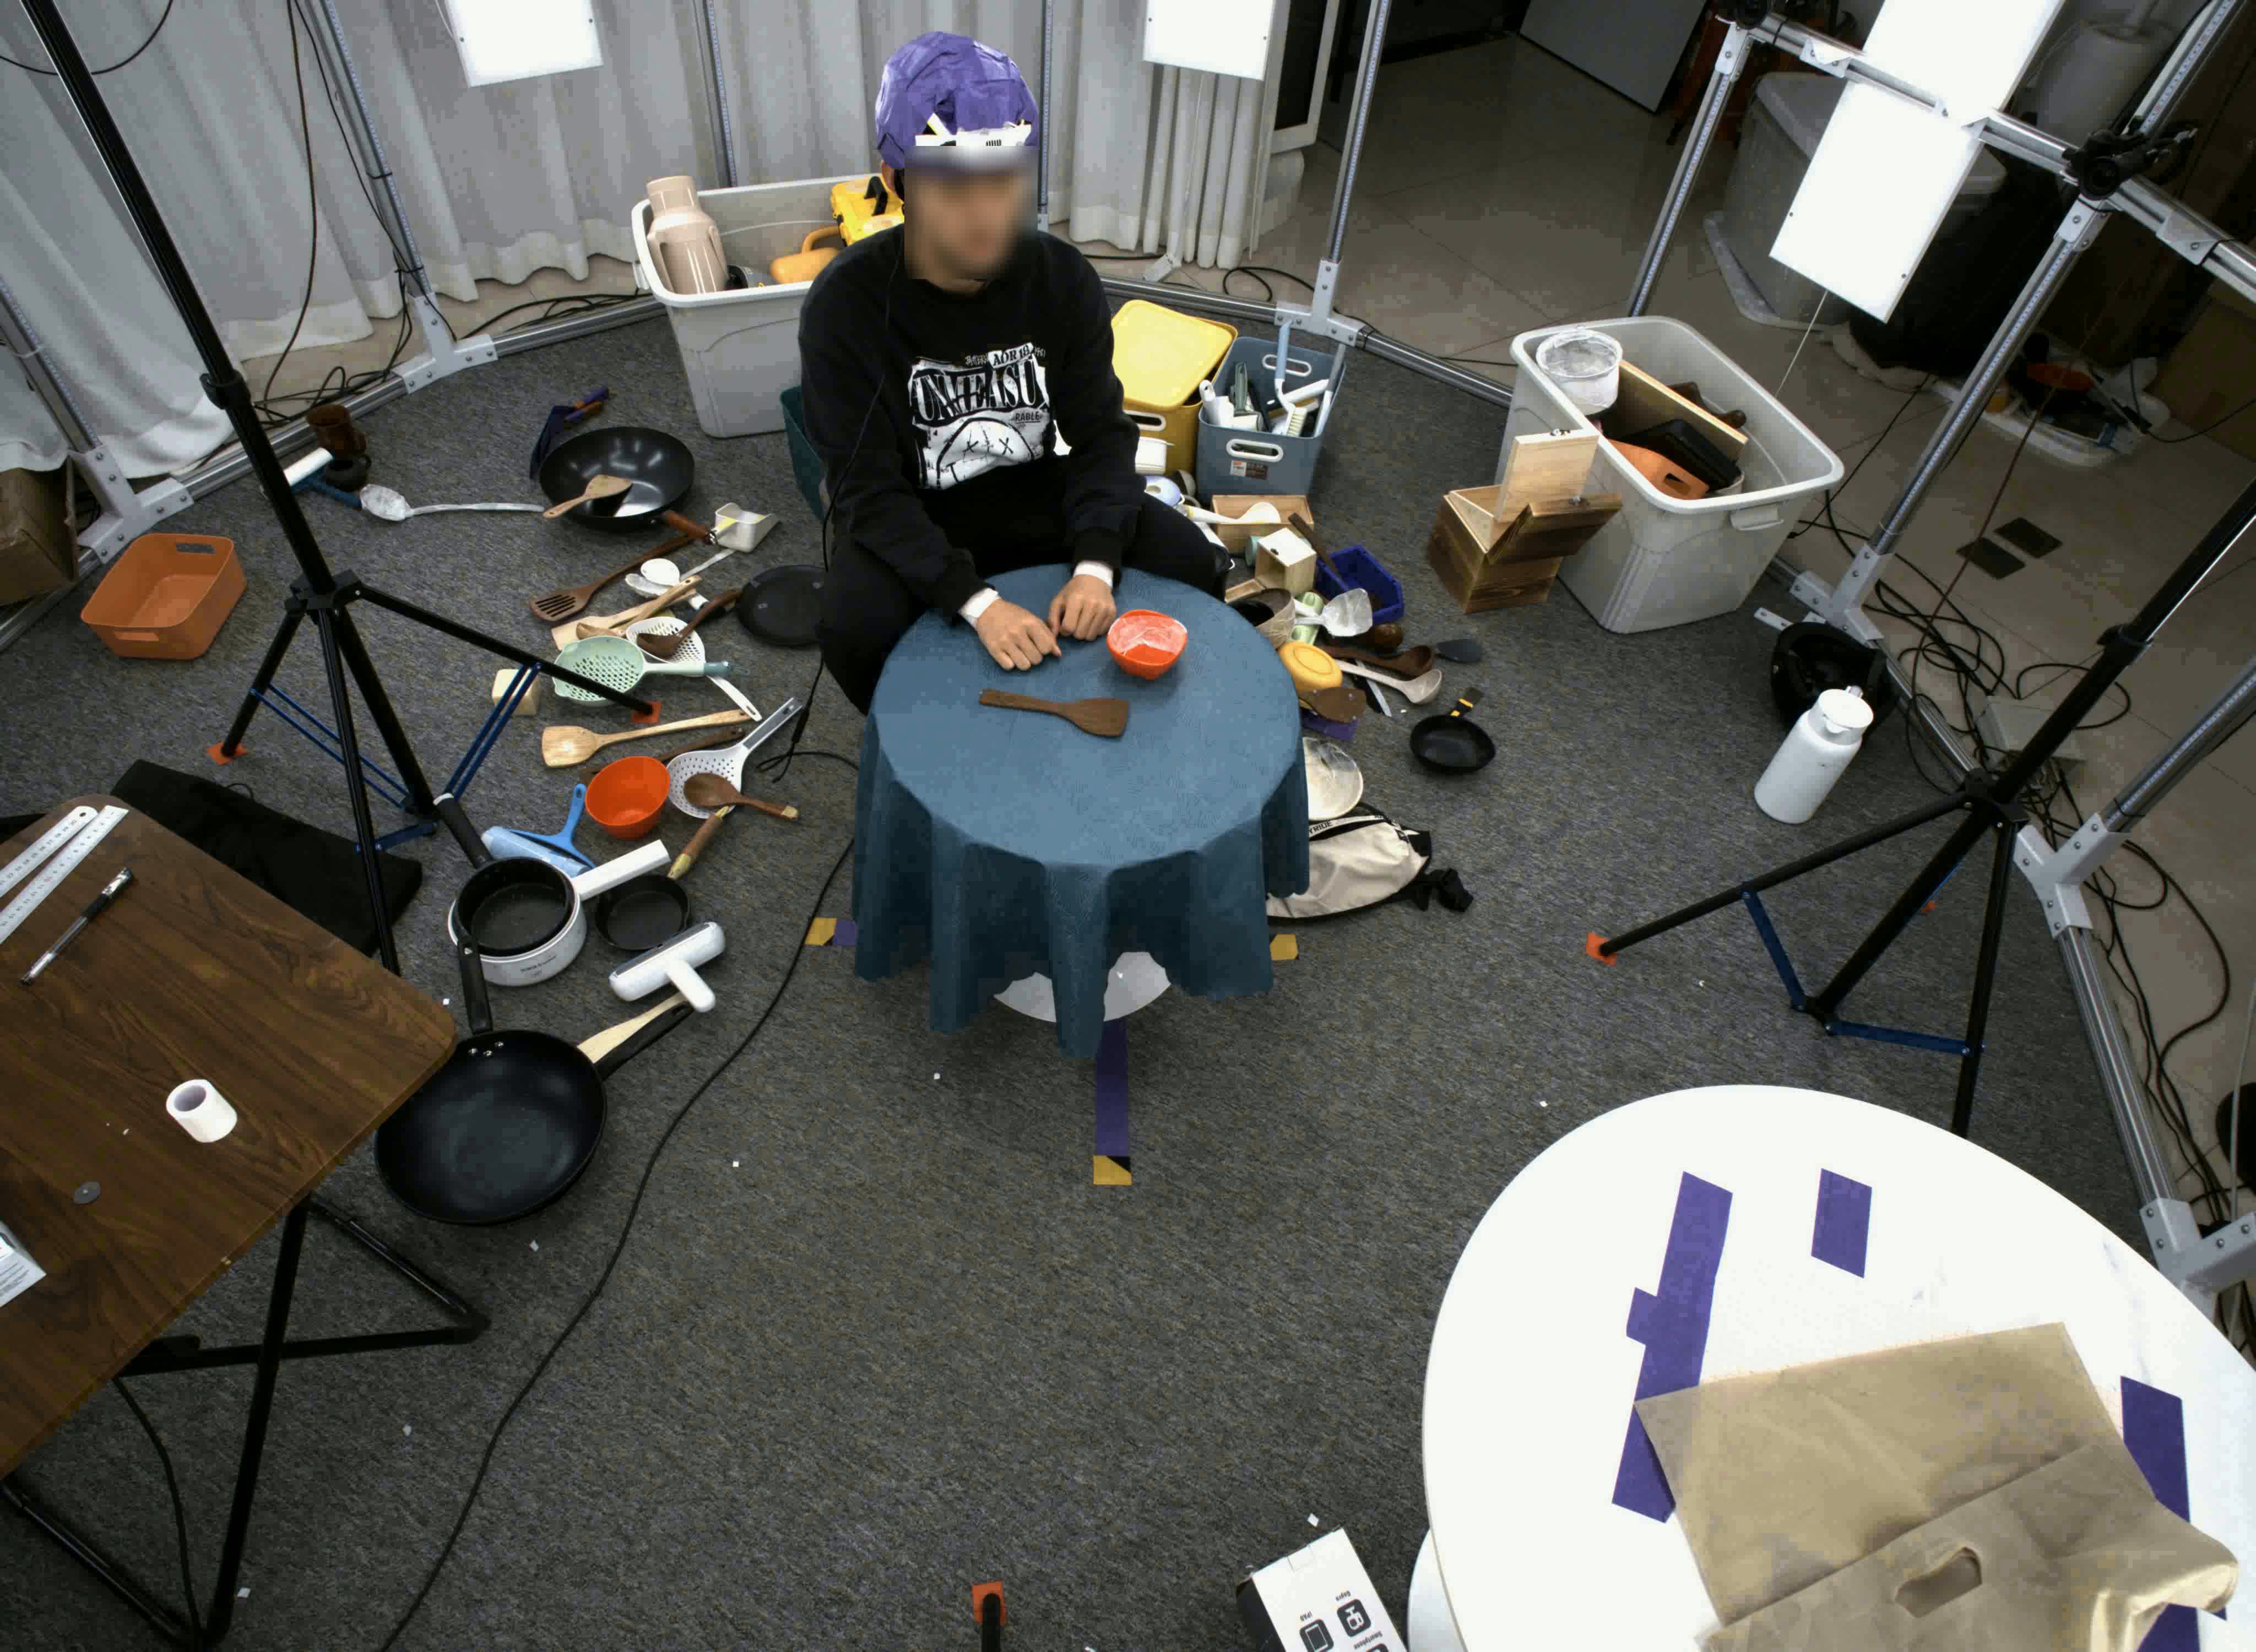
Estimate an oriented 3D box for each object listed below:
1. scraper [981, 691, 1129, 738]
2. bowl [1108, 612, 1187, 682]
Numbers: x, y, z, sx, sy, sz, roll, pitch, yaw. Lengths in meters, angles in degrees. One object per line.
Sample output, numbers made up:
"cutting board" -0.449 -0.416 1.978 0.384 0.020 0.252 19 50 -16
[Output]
"scraper" -0.104 -0.166 1.816 0.211 0.010 0.077 10 48 6
"bowl" 0.027 -0.256 1.877 0.119 0.050 0.122 2 51 -3
